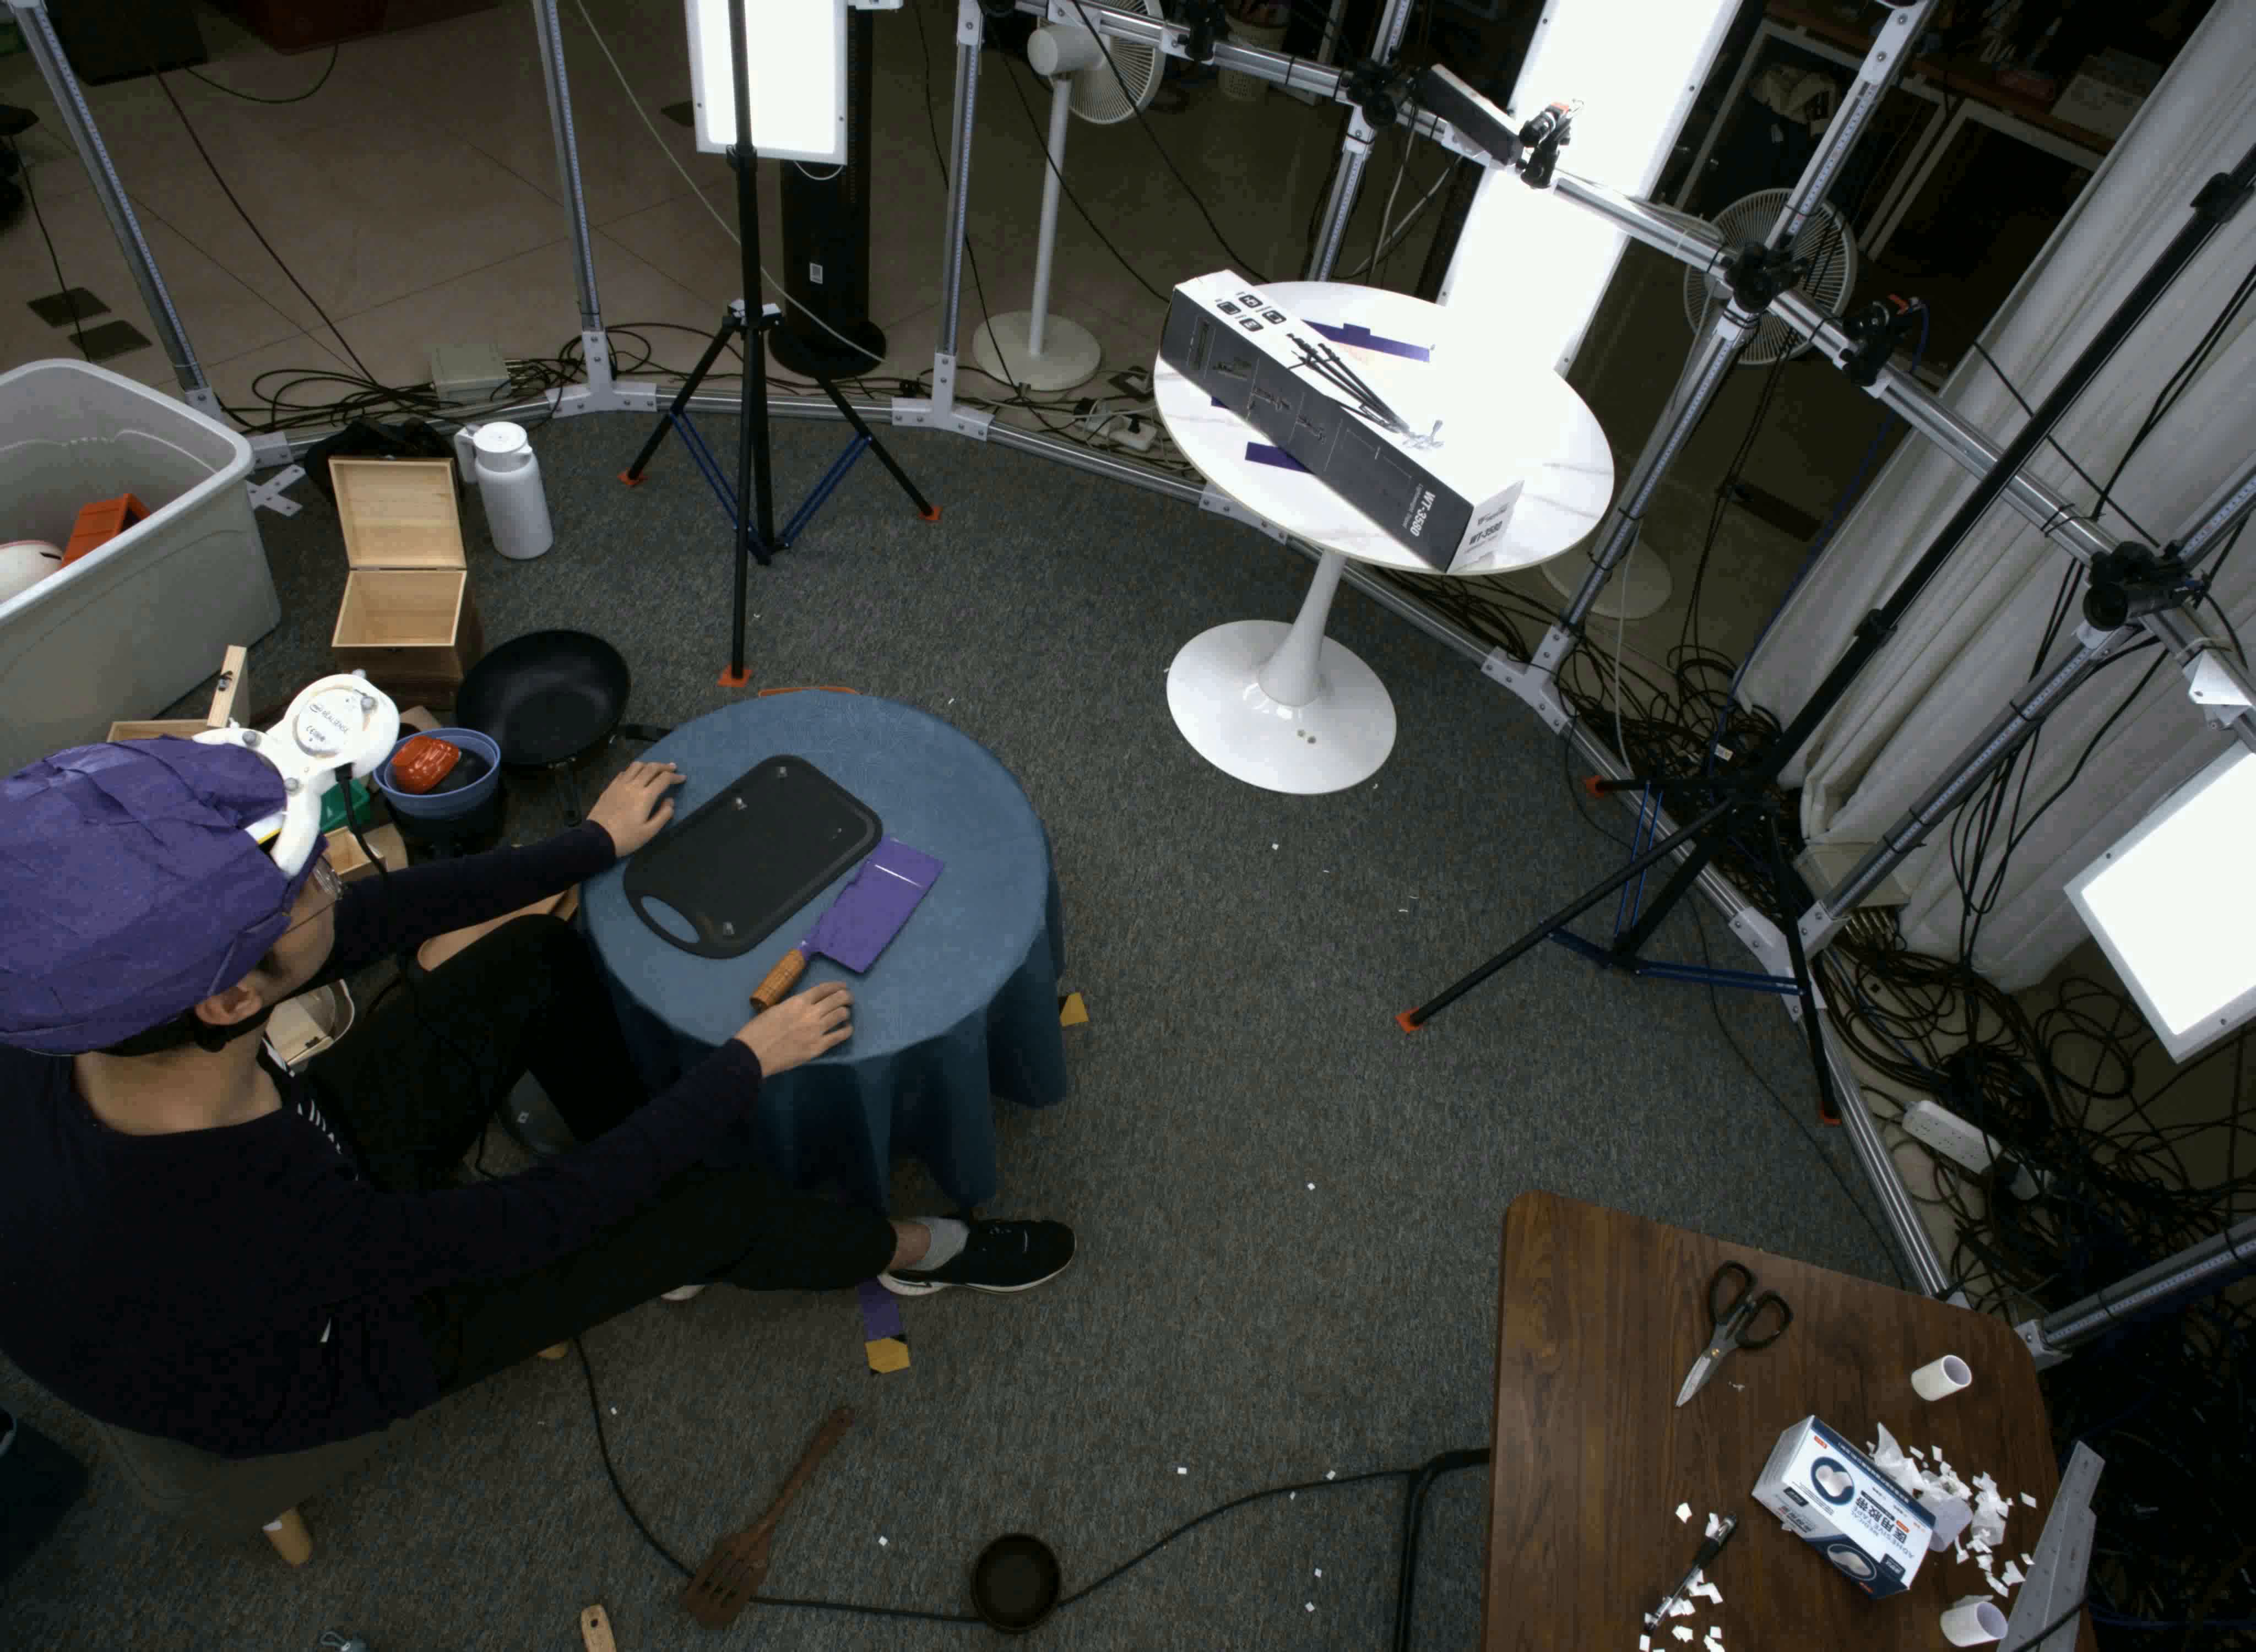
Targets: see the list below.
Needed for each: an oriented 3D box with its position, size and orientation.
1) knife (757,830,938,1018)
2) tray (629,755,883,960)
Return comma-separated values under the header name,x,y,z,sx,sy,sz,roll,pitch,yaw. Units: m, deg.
name,x,y,z,sx,sy,sz,roll,pitch,yaw
knife,-0.345,0.125,1.645,0.102,0.033,0.313,26,52,6
tray,-0.488,0.036,1.688,0.207,0.010,0.325,36,54,13
